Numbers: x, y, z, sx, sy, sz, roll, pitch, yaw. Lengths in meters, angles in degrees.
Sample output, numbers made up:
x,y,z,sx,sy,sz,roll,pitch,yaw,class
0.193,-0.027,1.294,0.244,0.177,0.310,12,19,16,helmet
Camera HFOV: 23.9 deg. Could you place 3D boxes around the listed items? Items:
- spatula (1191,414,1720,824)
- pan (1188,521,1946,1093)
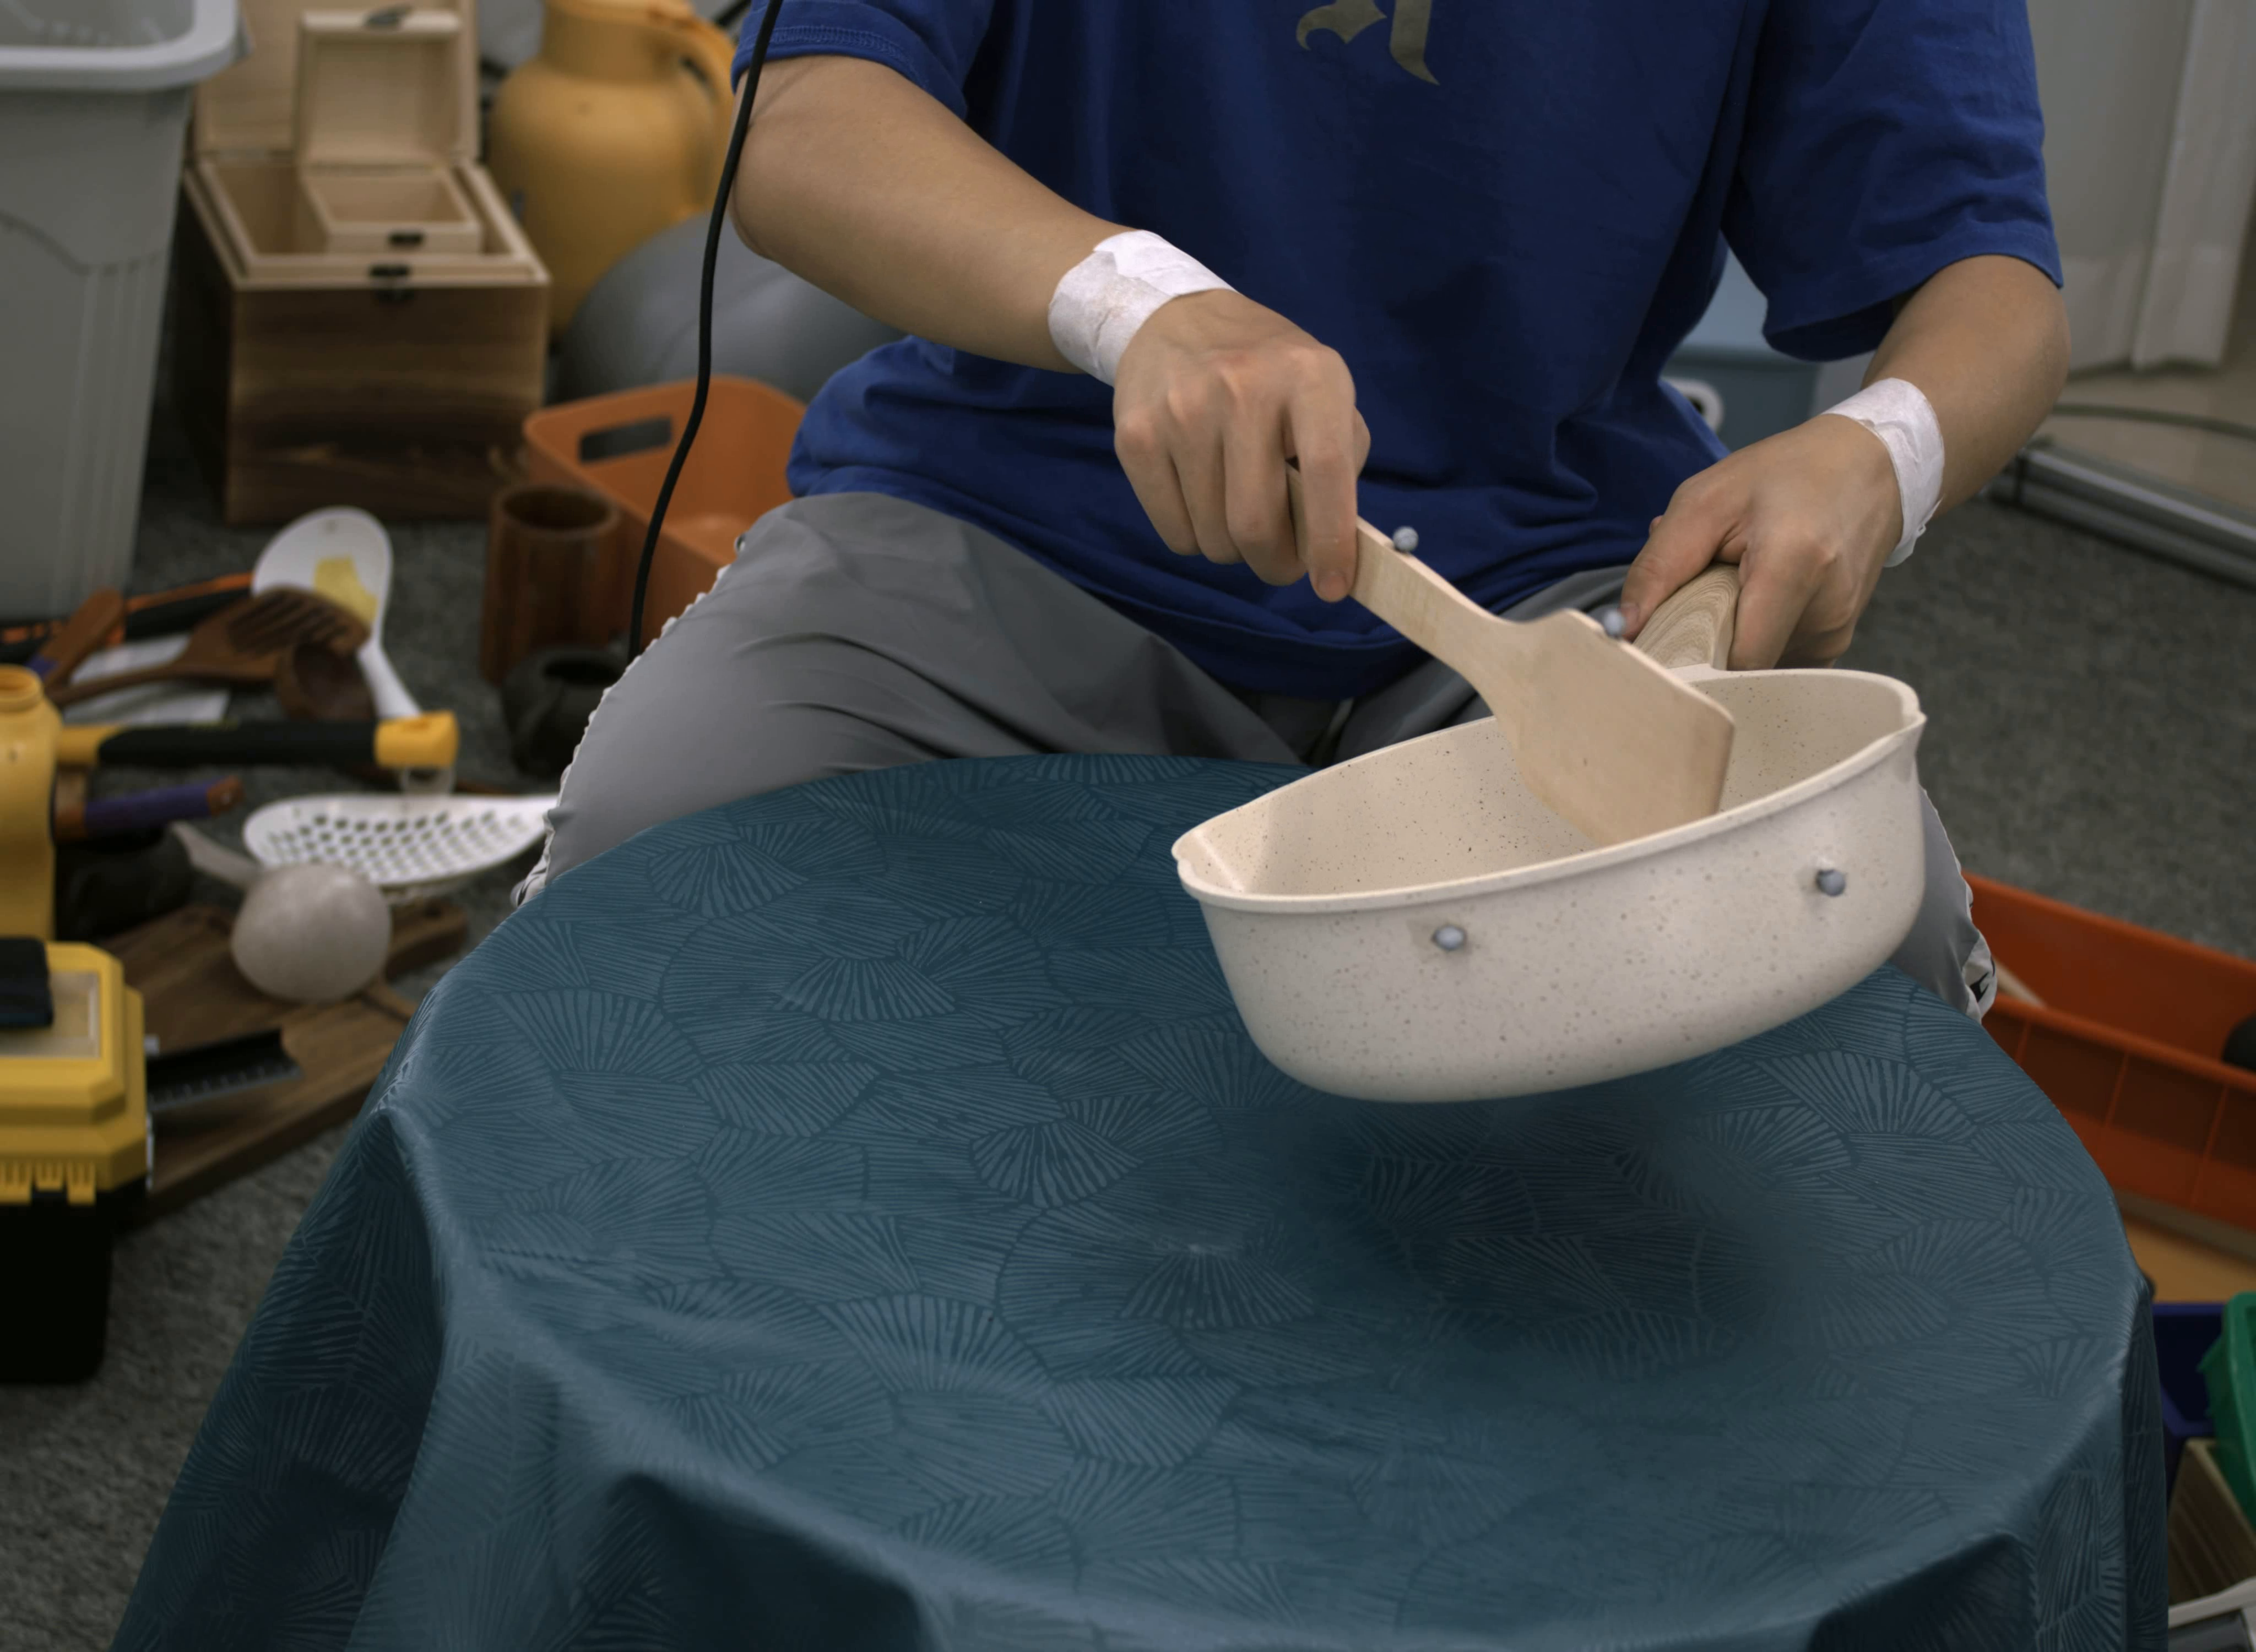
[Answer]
x,y,z,sx,sy,sz,roll,pitch,yaw,class
0.105,-0.073,1.836,0.010,0.072,0.296,-8,33,-34,spatula
0.181,-0.012,1.849,0.264,0.102,0.434,-12,11,22,pan
